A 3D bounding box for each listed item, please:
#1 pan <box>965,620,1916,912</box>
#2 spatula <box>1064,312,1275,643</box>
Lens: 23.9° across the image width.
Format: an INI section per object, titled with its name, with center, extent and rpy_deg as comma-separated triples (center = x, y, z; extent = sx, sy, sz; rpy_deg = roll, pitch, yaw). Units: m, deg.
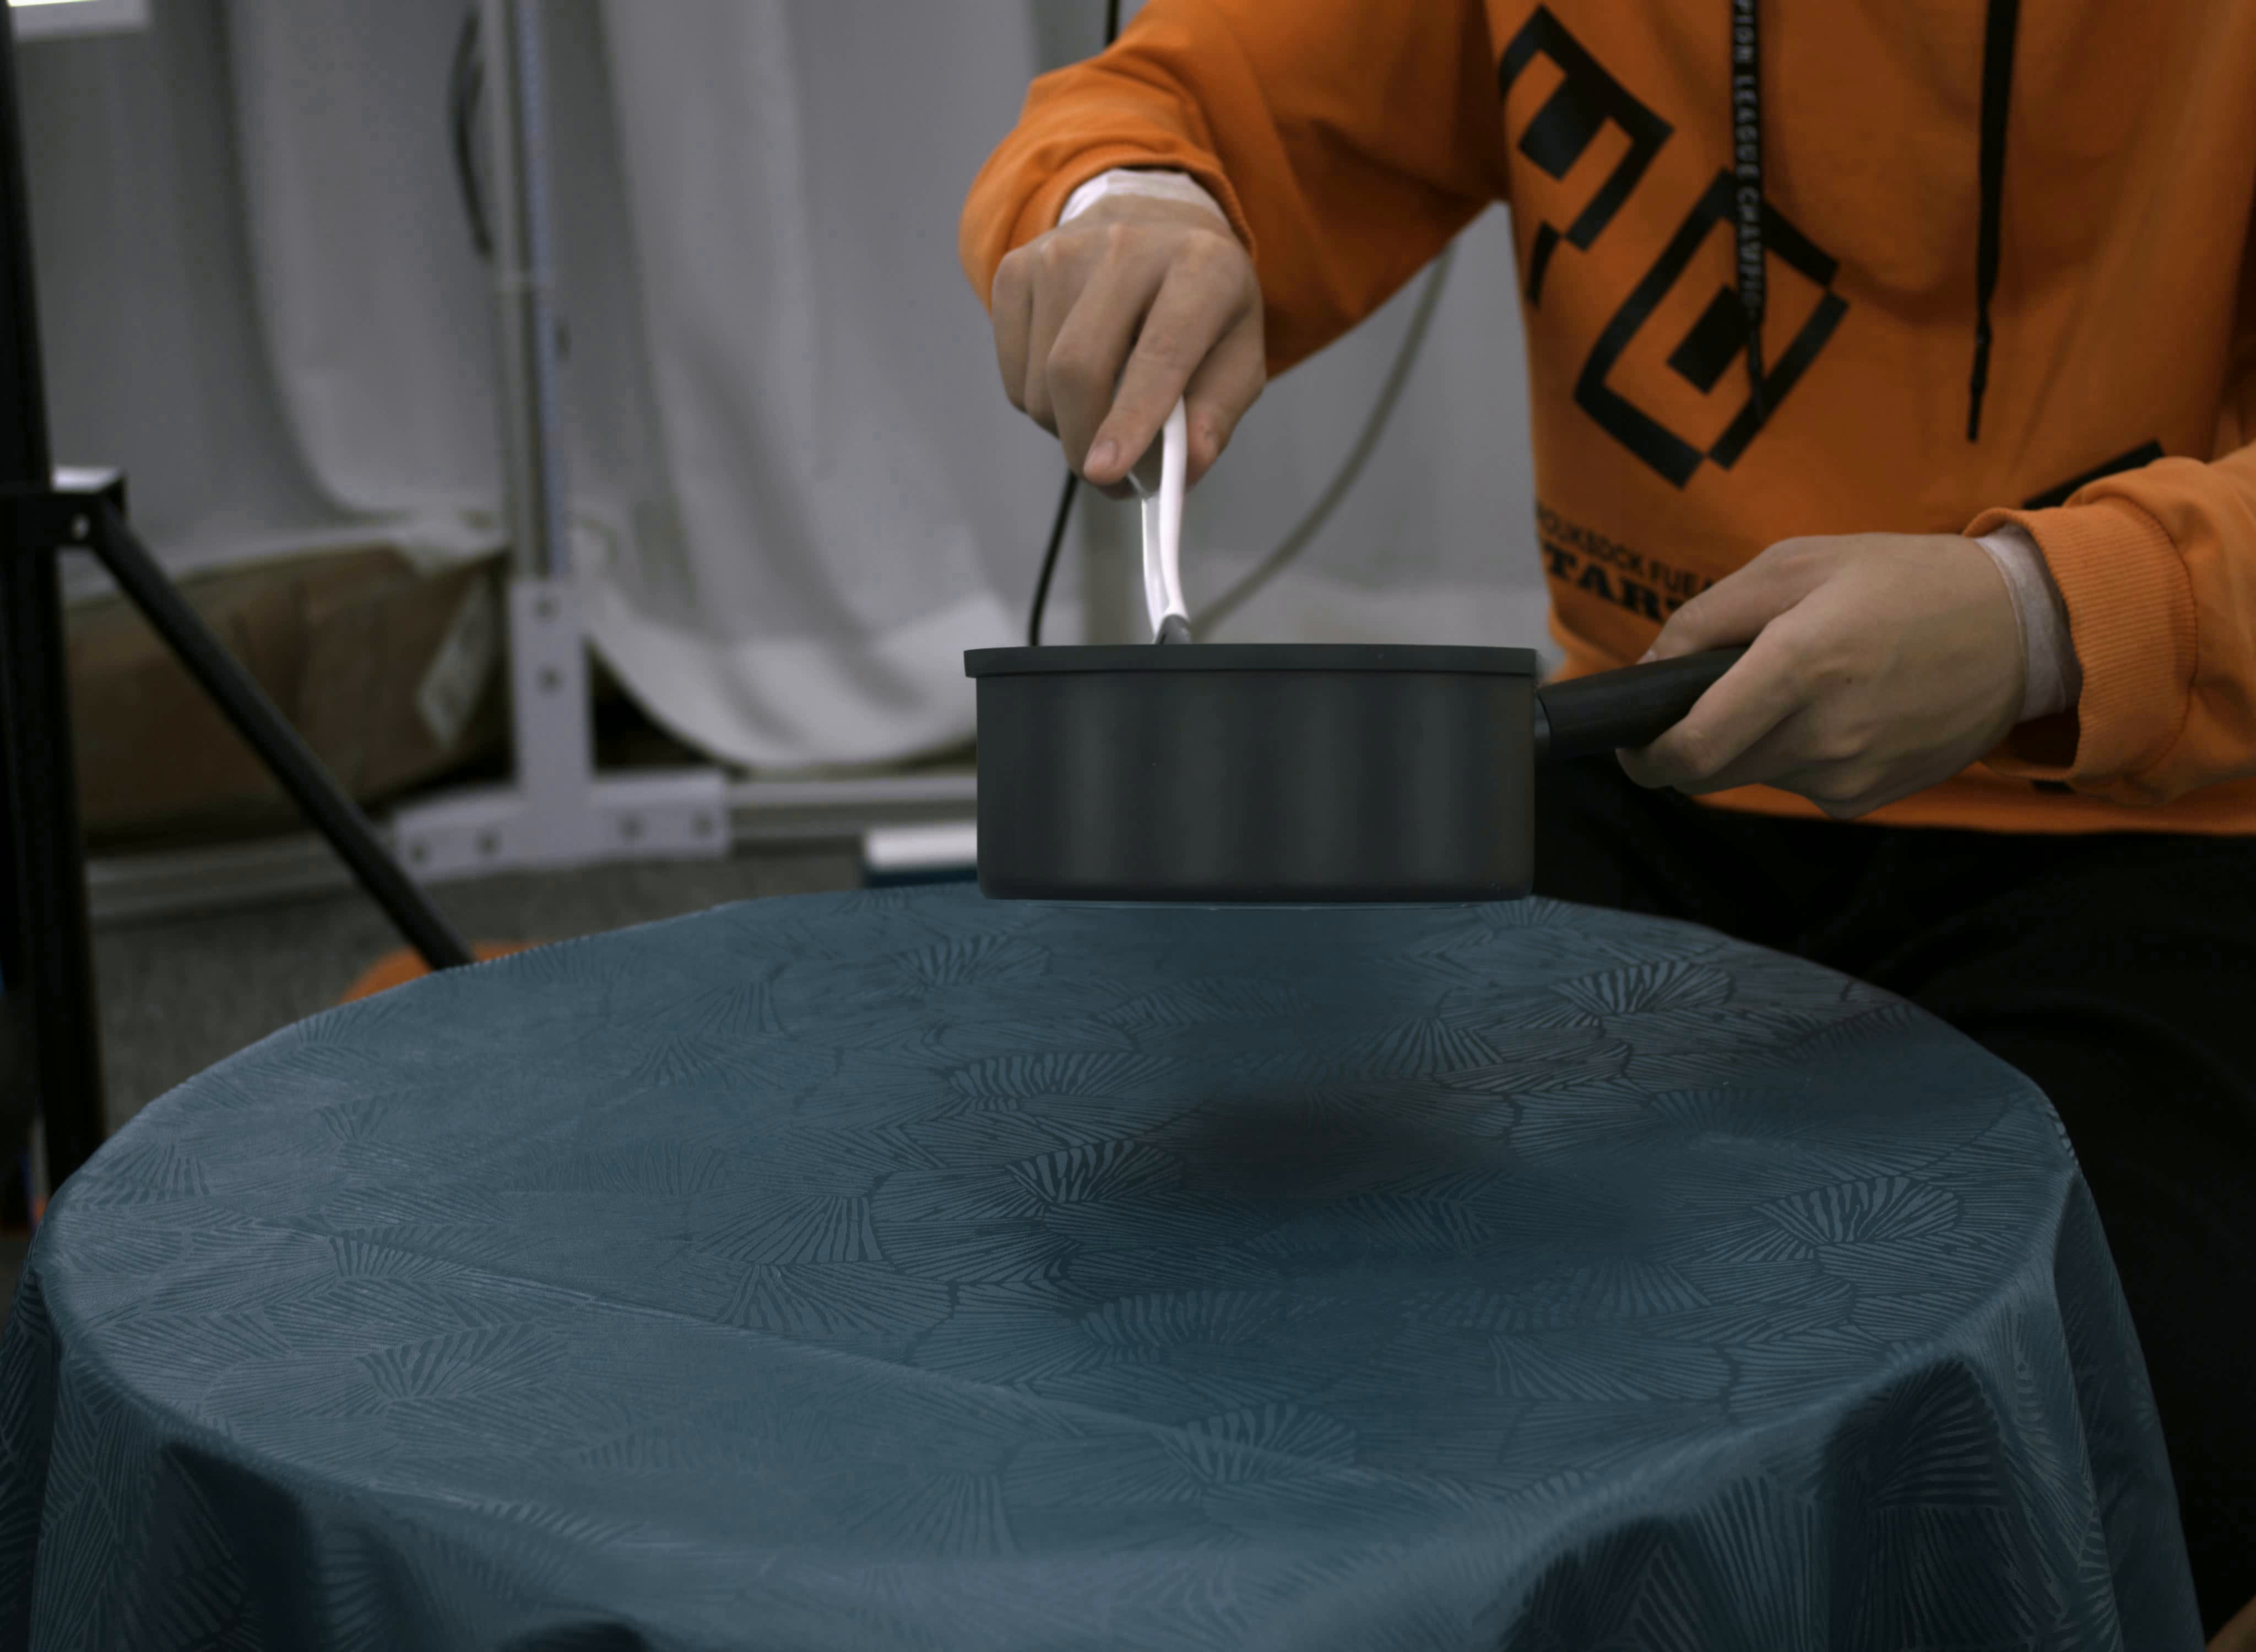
[pan]
center = 0.103, -0.017, 1.594
extent = 0.320, 0.087, 0.175
rpy_deg = -1, 2, -31
[spatula]
center = 0.021, -0.080, 1.649
extent = 0.031, 0.059, 0.292
rpy_deg = 13, 28, -20
